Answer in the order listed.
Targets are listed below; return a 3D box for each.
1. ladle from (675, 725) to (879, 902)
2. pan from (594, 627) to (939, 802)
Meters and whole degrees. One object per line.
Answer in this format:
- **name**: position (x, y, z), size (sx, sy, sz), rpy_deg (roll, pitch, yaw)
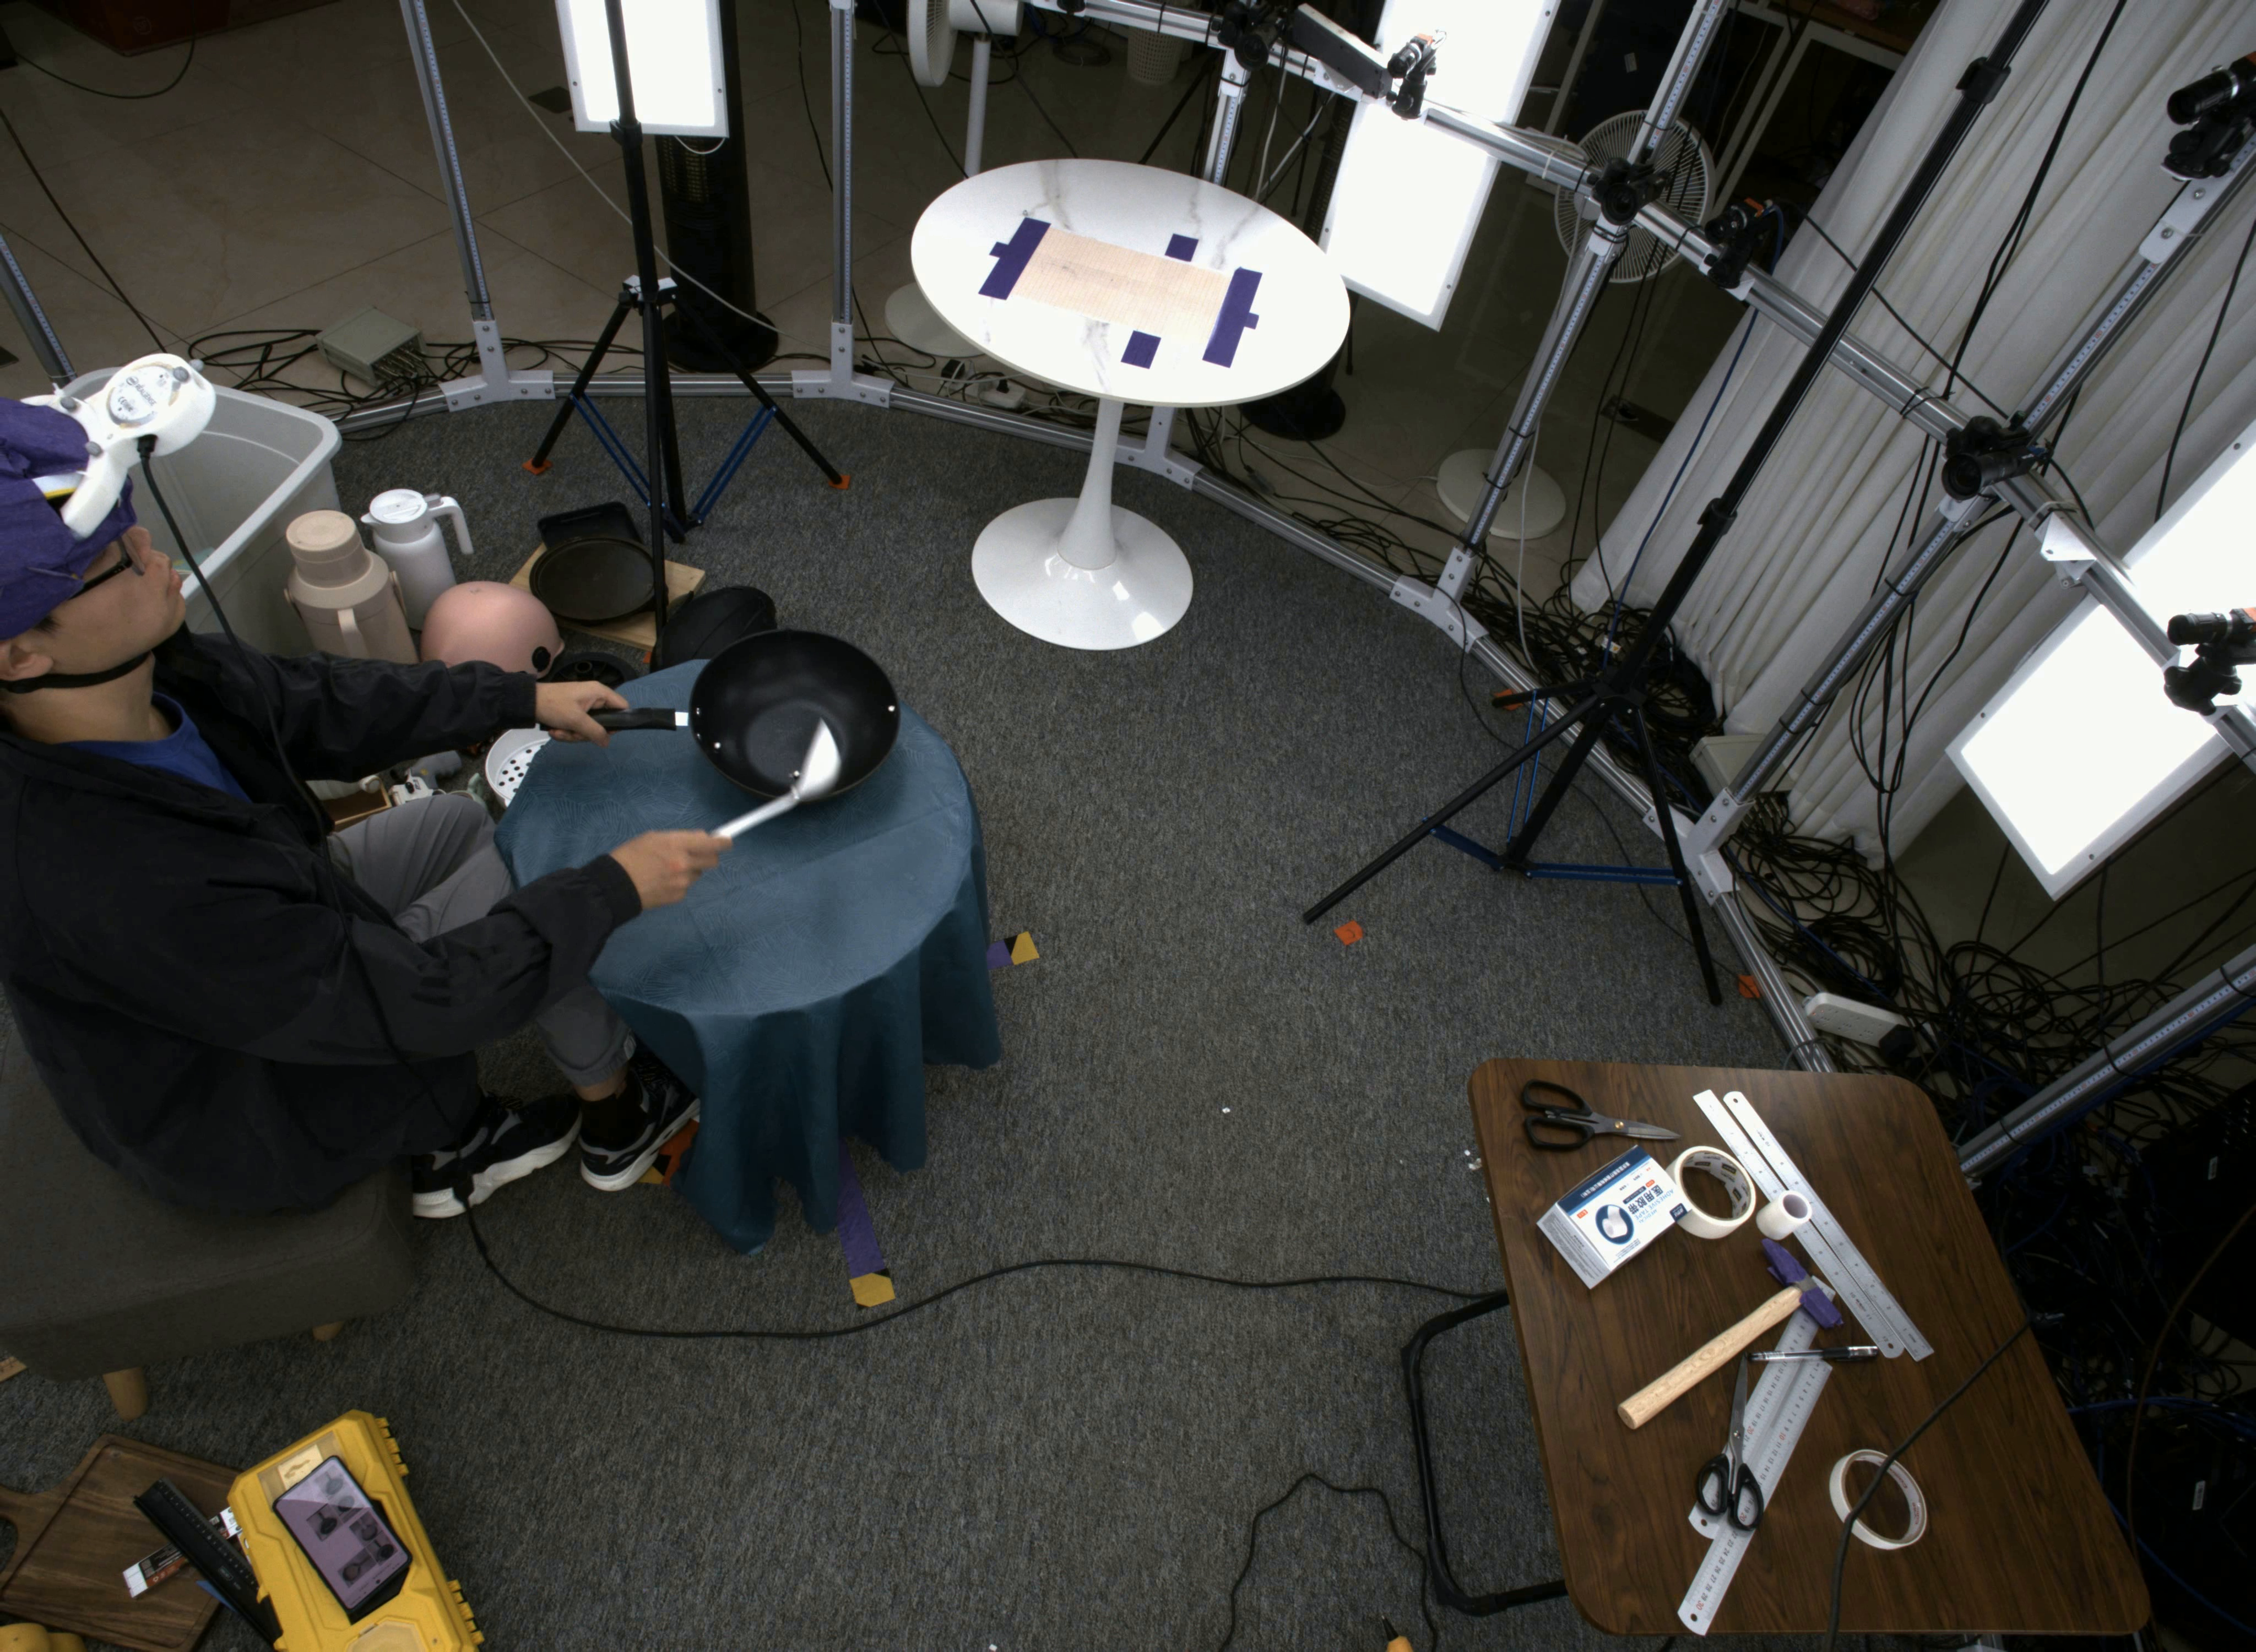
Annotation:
- **ladle**: position (-0.424, -0.017, 1.556), size (0.292, 0.088, 0.072), rpy_deg (-32, 107, -7)
- **pan**: position (-0.489, -0.137, 1.755), size (0.465, 0.088, 0.283), rpy_deg (-2, 59, -17)
